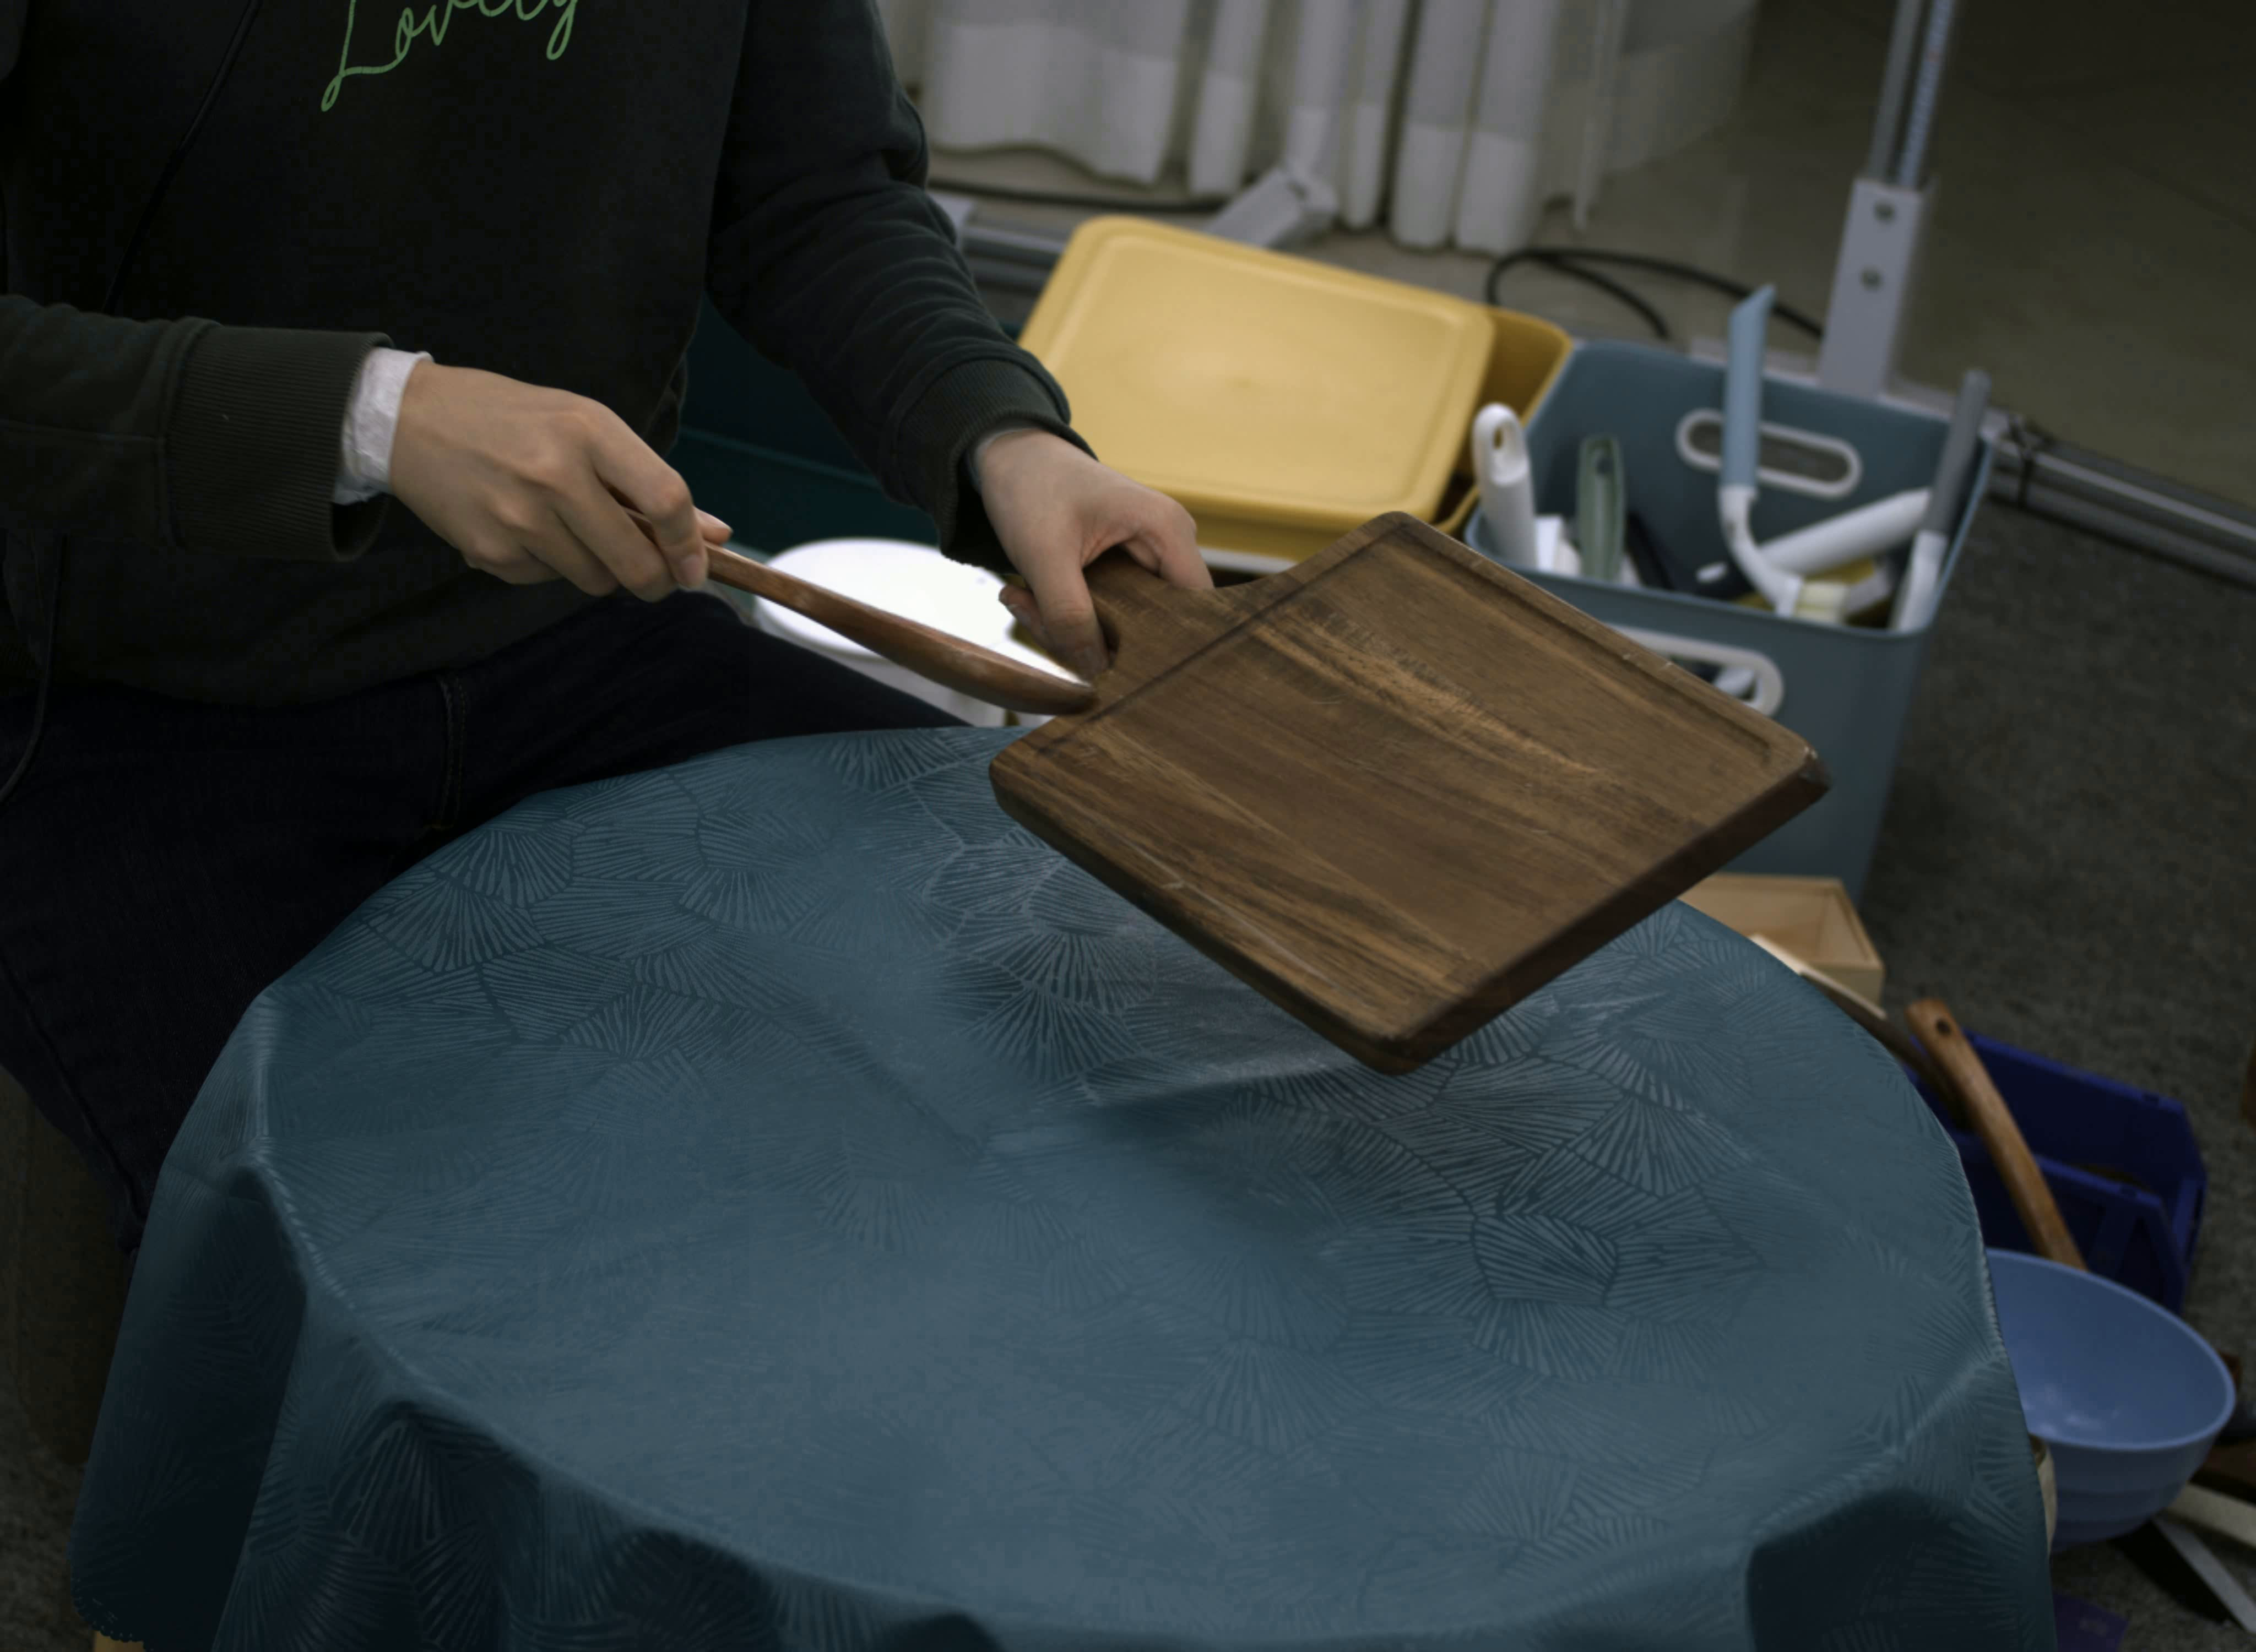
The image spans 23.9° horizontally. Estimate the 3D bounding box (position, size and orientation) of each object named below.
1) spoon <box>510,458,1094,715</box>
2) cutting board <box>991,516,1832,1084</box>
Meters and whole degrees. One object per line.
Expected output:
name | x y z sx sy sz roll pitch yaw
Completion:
spoon | -0.113 -0.079 1.823 0.216 0.017 0.075 23 7 5
cutting board | 0.068 -0.034 1.907 0.200 0.023 0.355 -33 38 -19
